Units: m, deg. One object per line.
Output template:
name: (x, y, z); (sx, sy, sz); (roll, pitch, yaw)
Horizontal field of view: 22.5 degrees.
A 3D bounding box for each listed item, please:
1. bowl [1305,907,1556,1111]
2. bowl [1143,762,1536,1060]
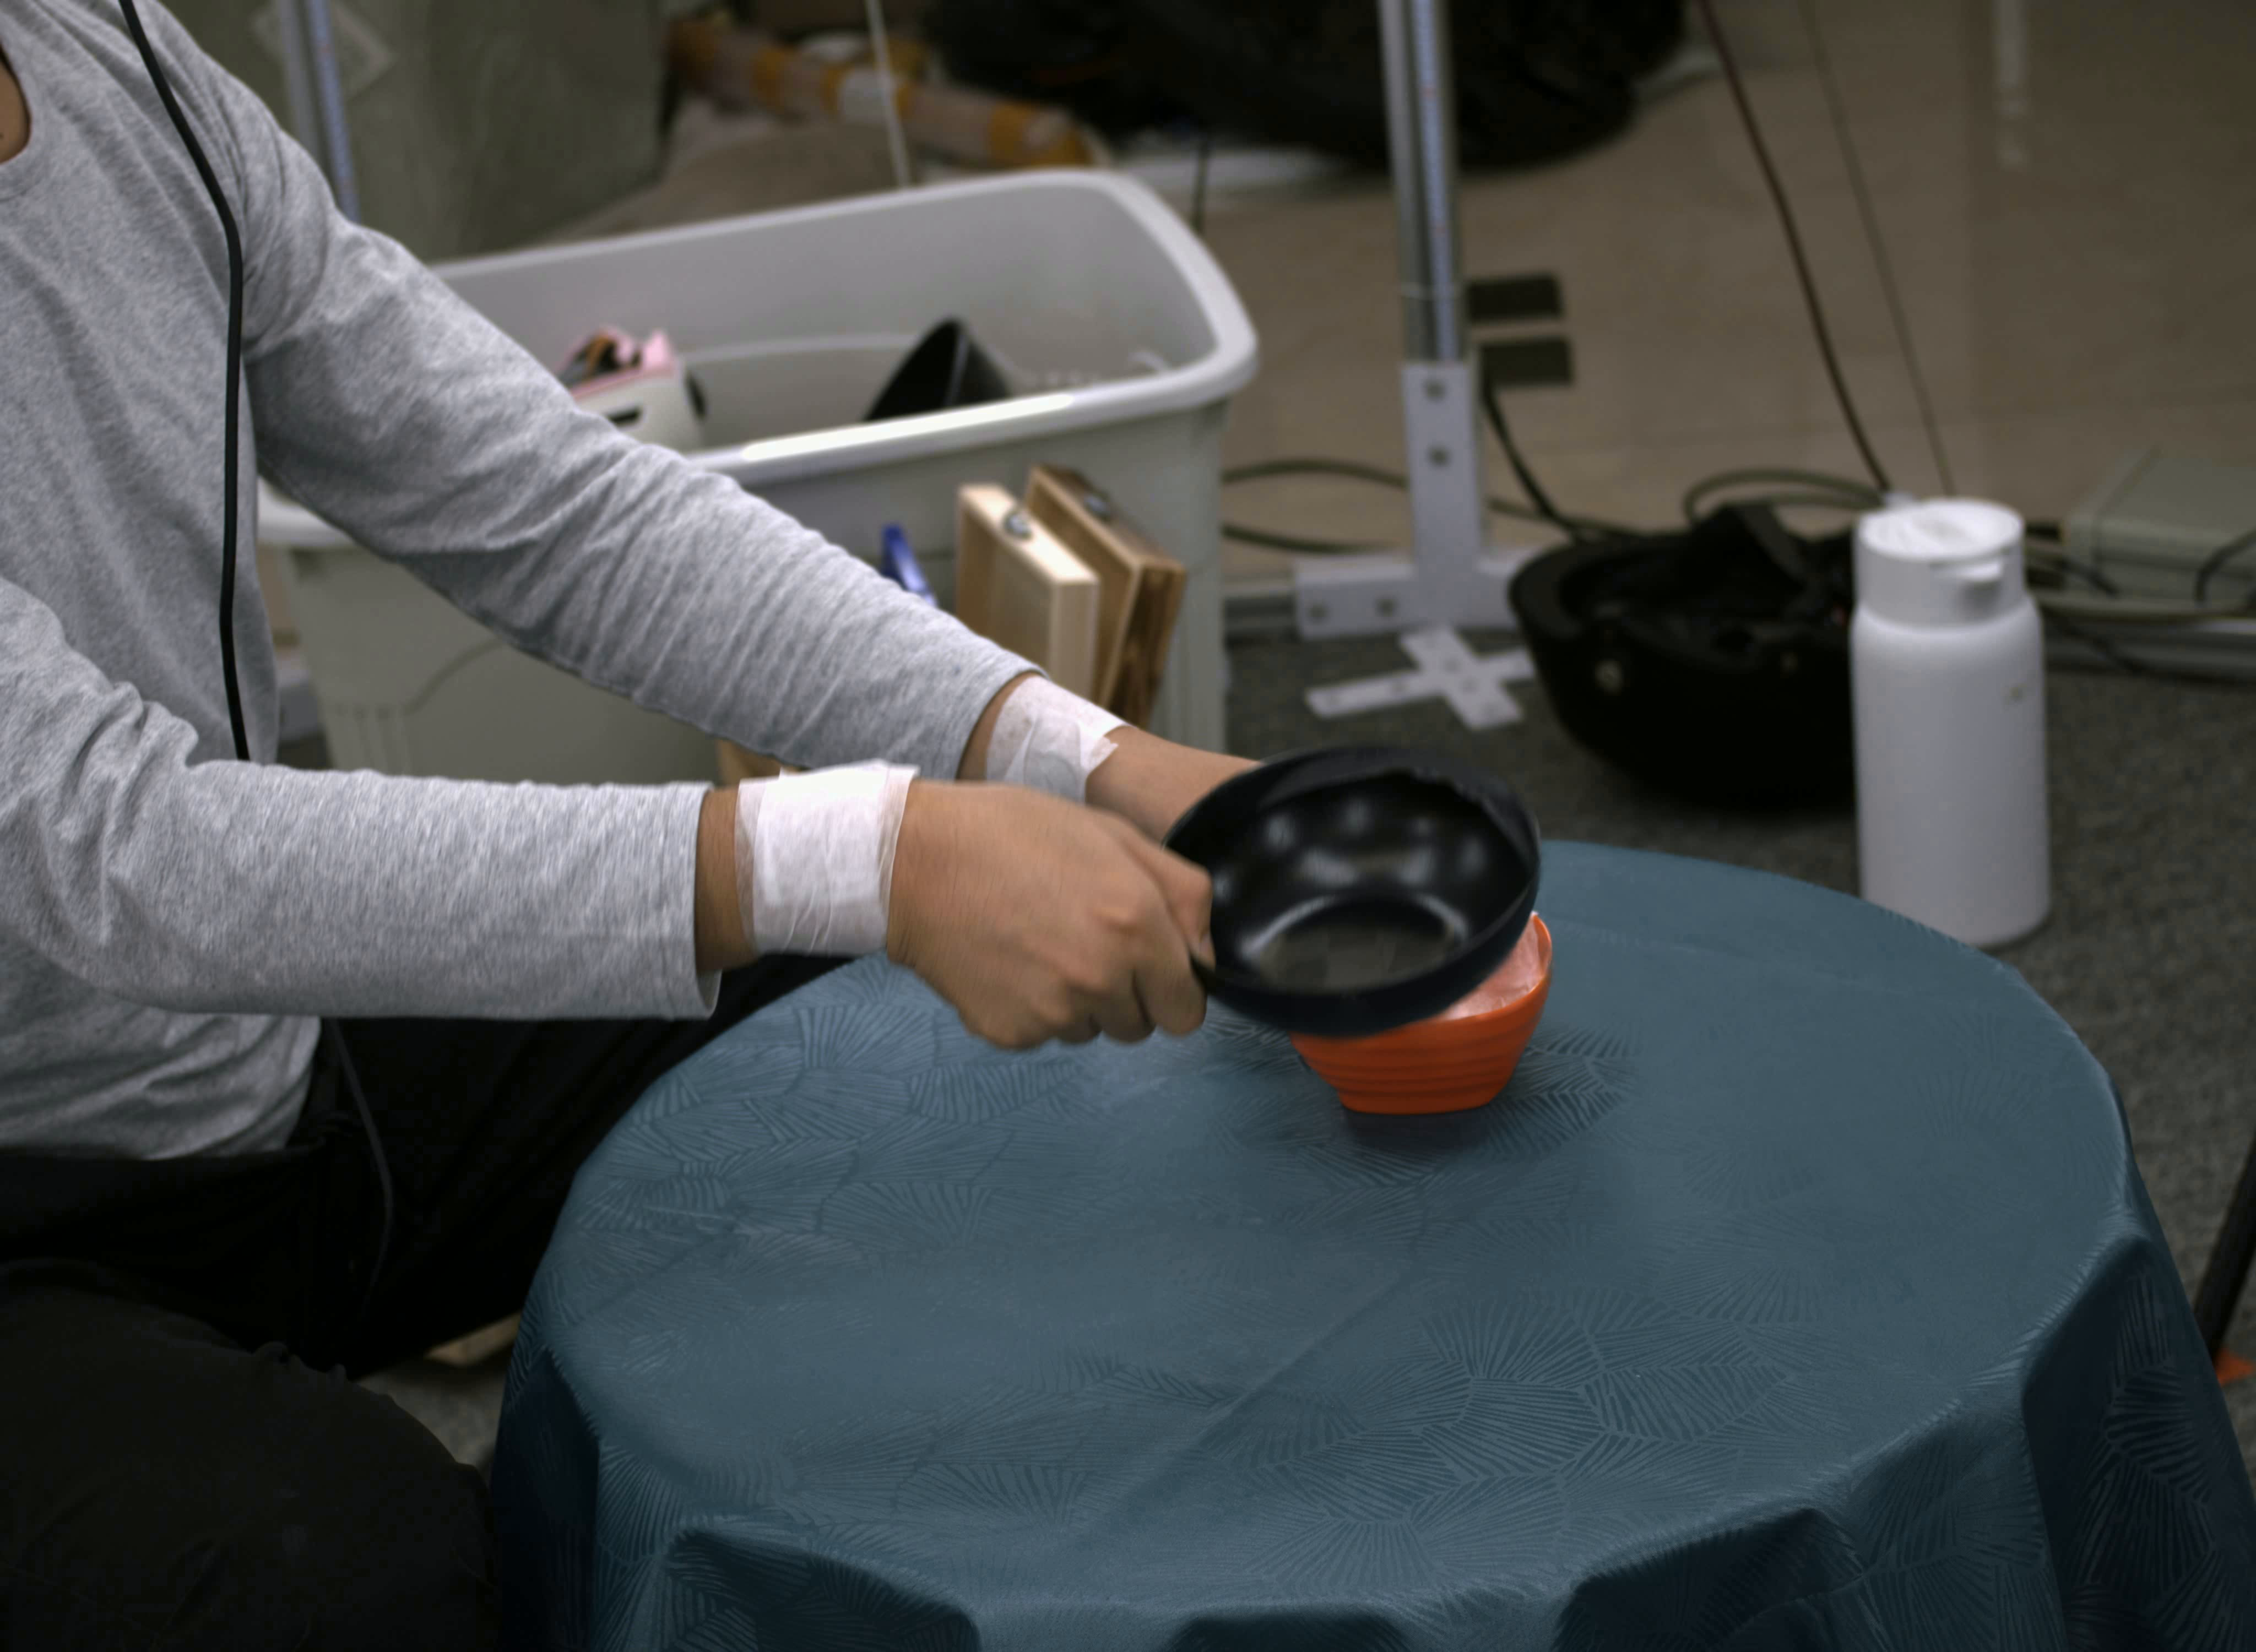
bowl: (0.112, 0.073, 2.202); (0.119, 0.052, 0.117); (-3, 26, 2)
bowl: (0.078, 0.038, 1.996); (0.140, 0.051, 0.137); (-9, 38, 7)
